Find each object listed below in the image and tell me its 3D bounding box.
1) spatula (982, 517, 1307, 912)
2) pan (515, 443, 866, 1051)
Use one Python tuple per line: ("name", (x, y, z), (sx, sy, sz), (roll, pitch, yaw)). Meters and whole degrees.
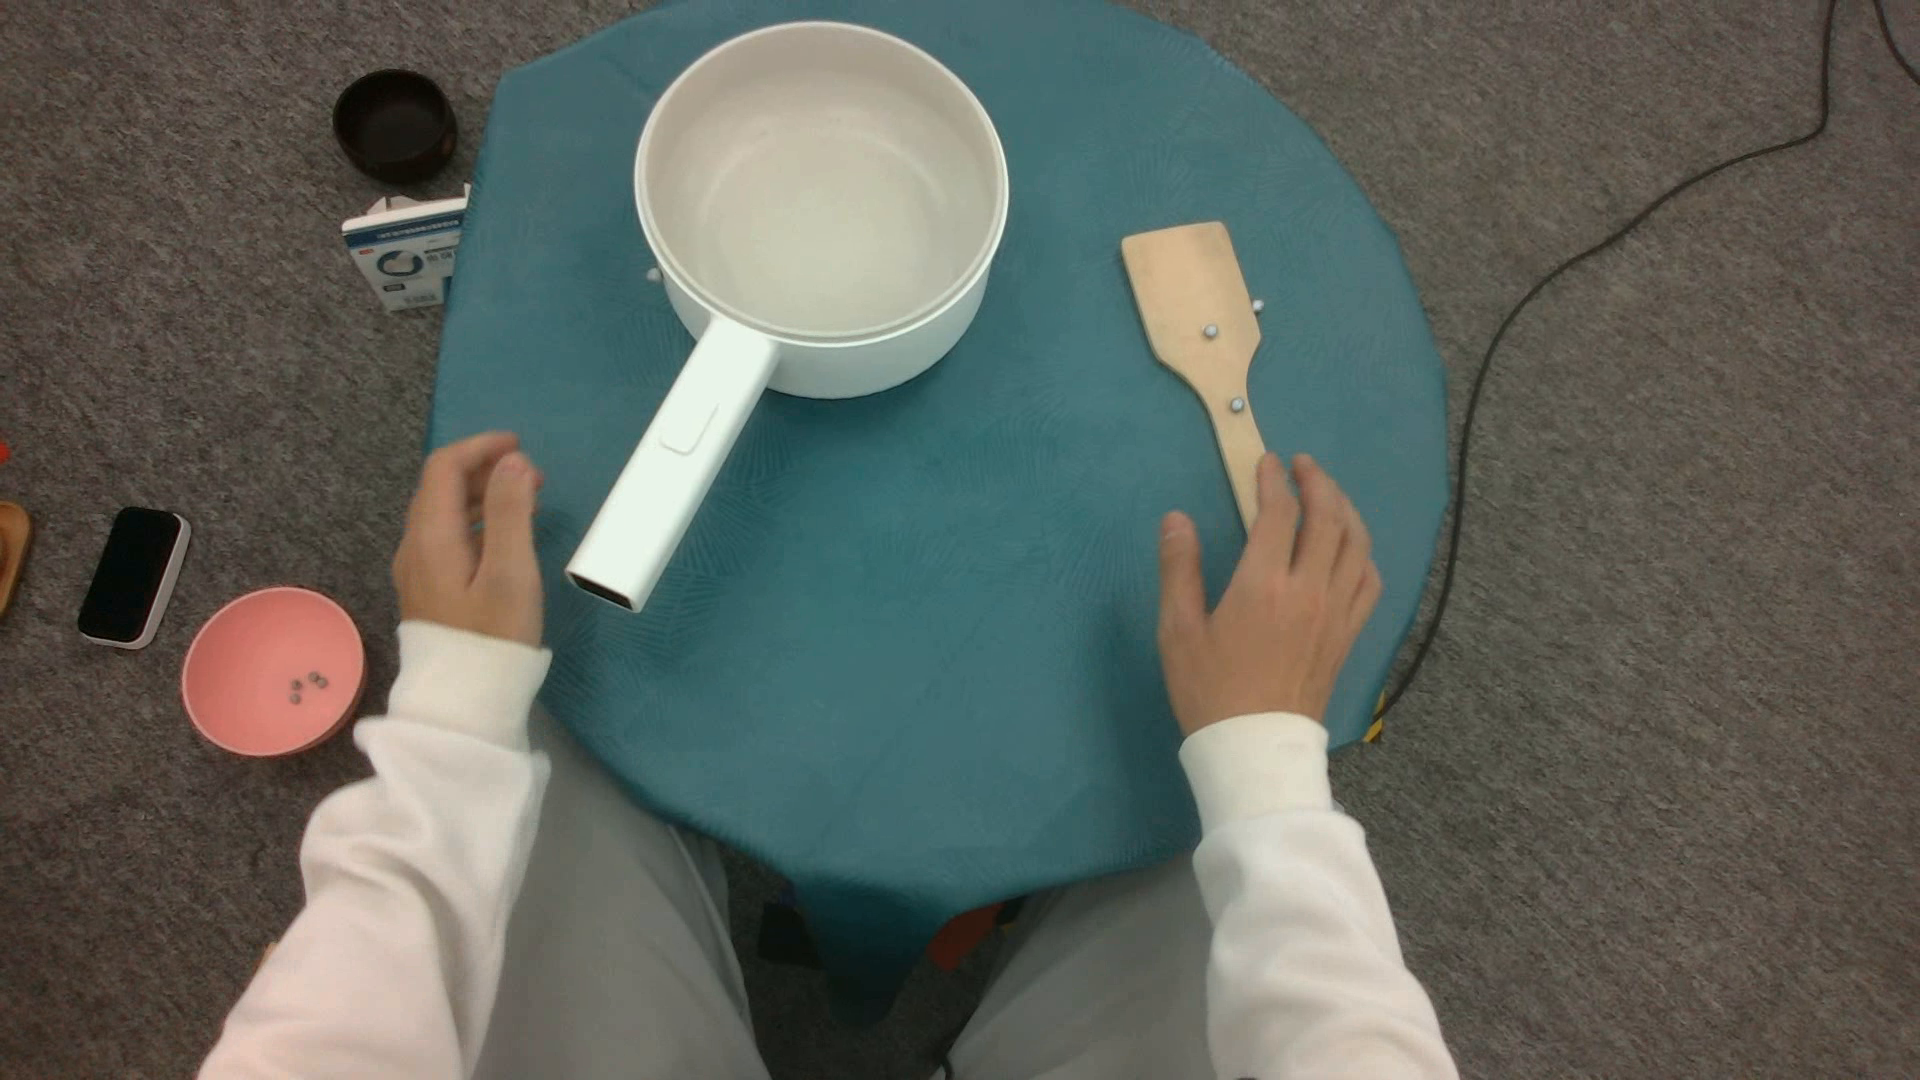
("spatula", (0.115, 0.101, 0.845), (0.072, 0.010, 0.293), (-25, 59, -17))
("pan", (-0.165, 0.113, 0.789), (0.201, 0.101, 0.356), (6, 57, 3))
